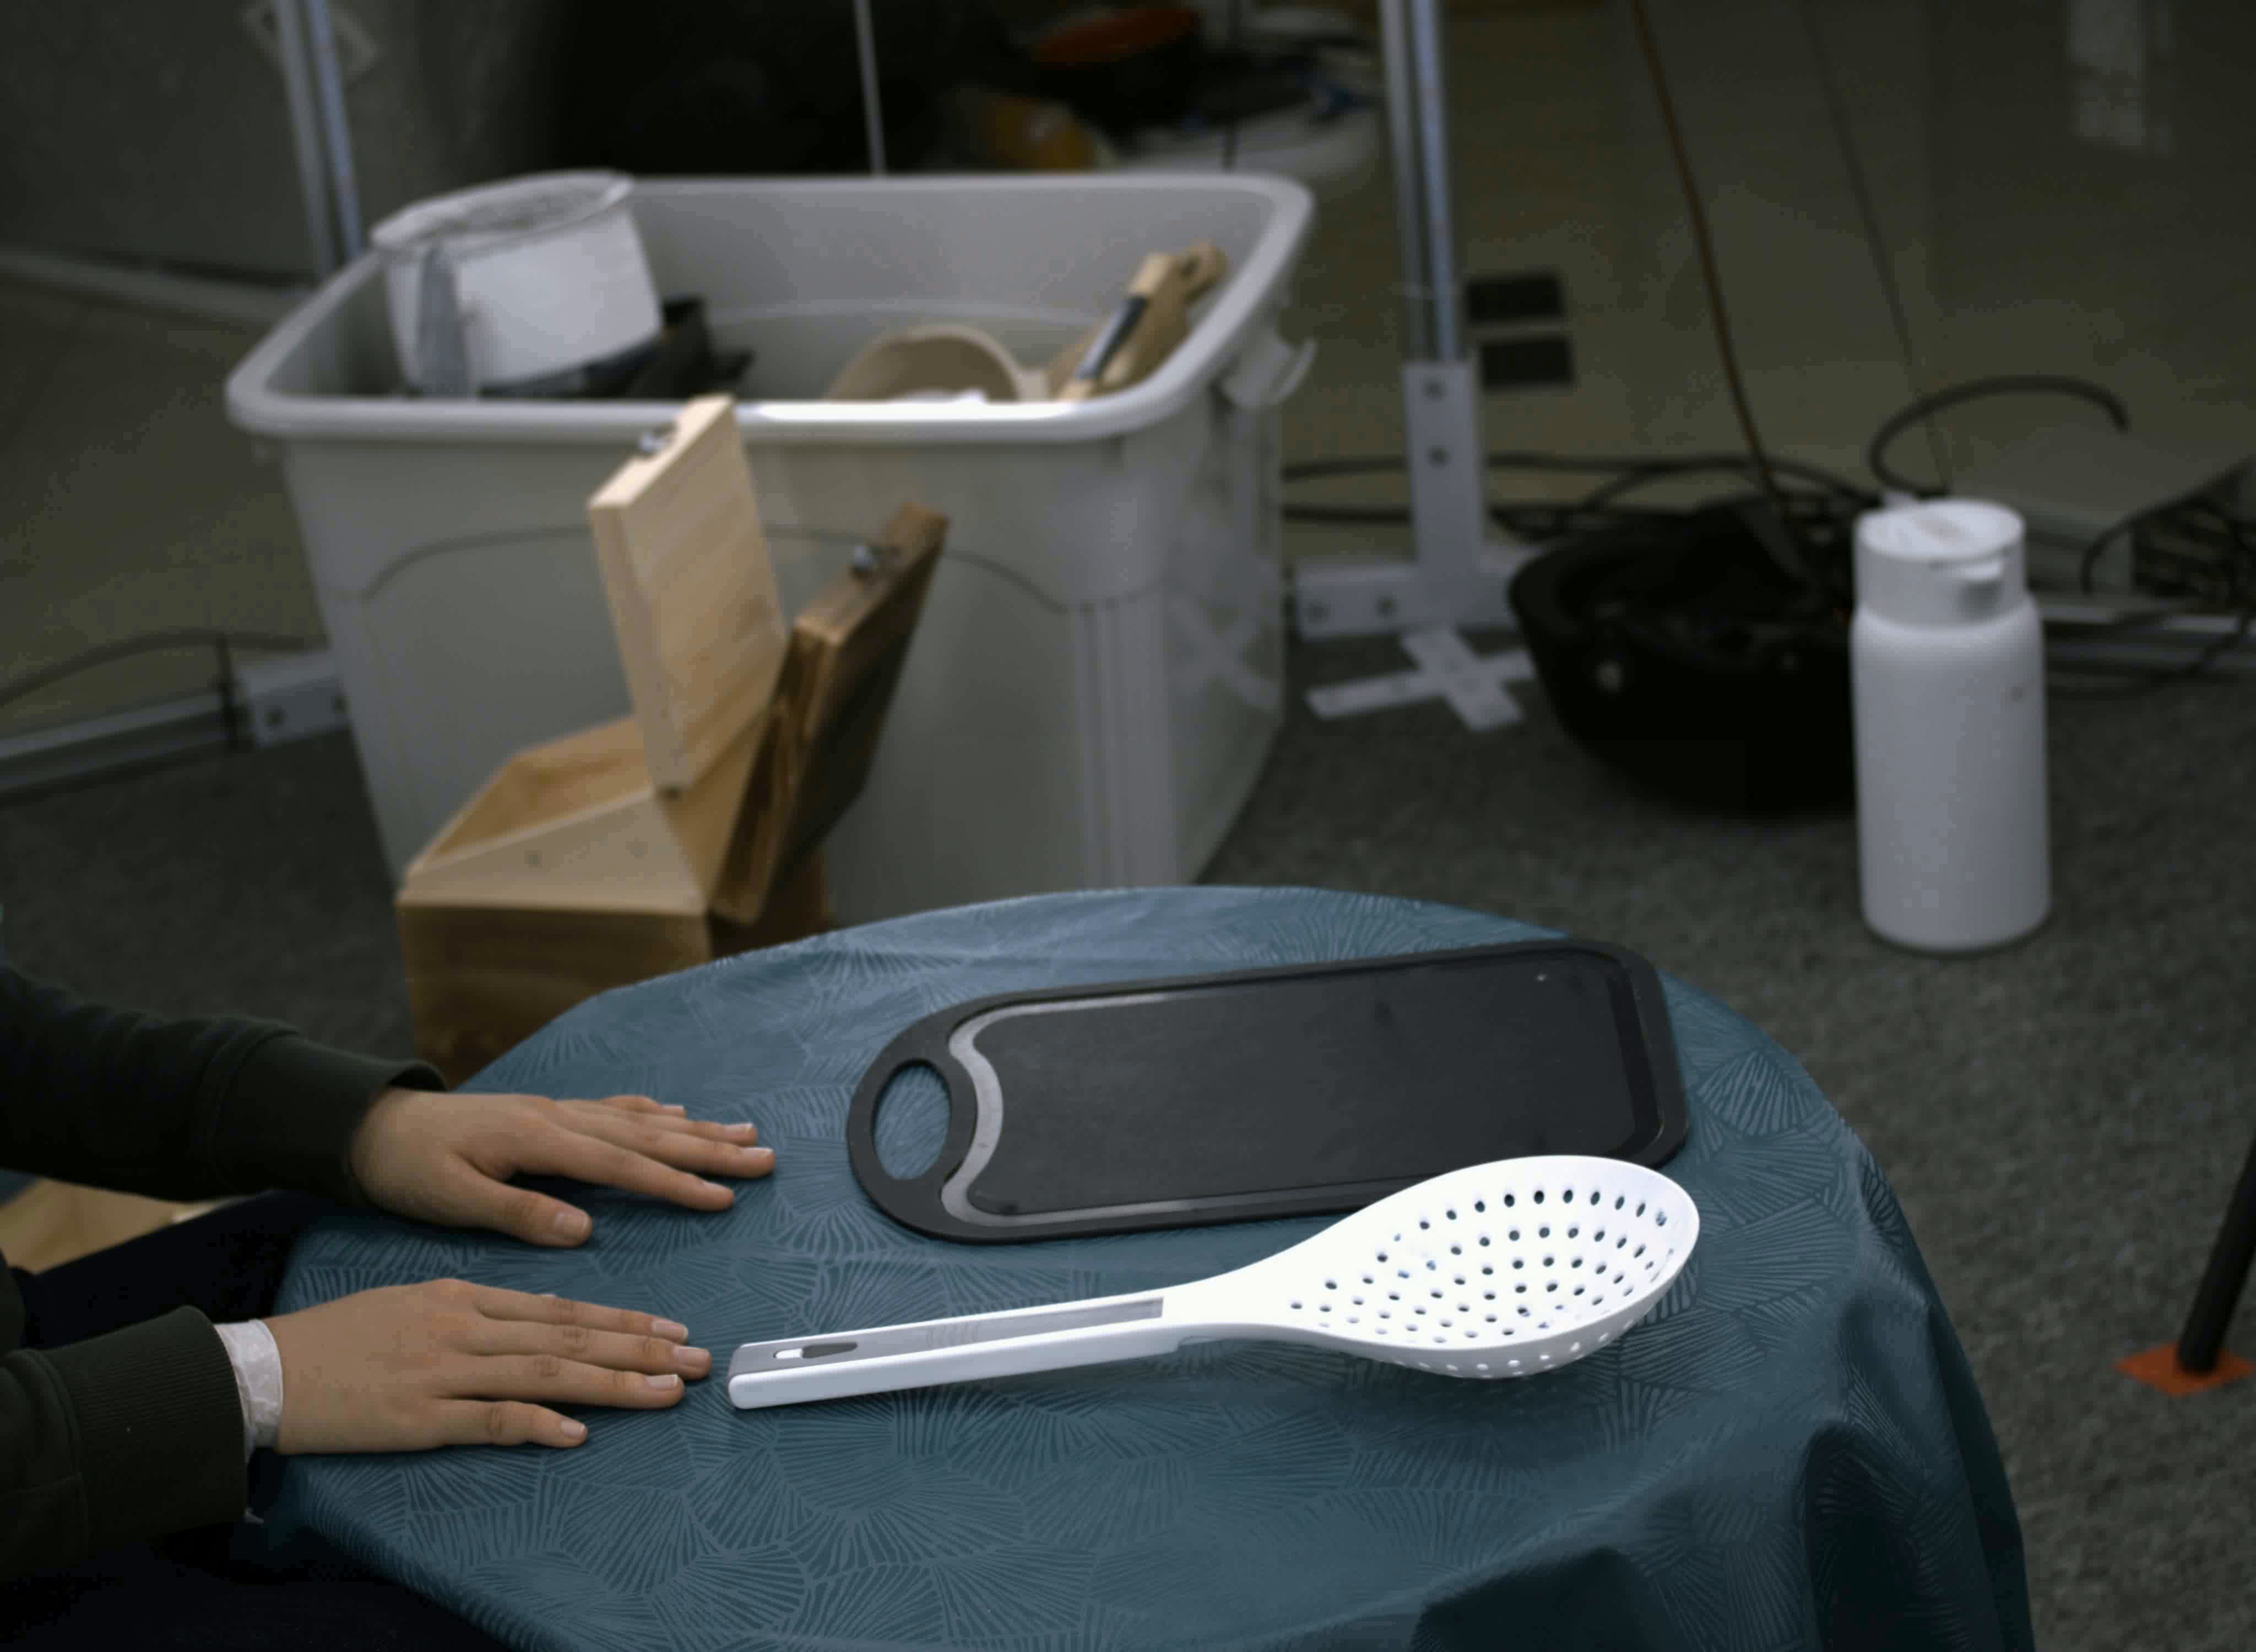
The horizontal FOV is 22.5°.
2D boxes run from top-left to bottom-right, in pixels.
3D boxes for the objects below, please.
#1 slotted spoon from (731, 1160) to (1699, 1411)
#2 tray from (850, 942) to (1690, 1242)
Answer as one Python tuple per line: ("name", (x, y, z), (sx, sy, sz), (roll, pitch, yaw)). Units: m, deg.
("slotted spoon", (0.029, 0.173, 2.018), (0.349, 0.046, 0.134), (-5, 23, 6))
("tray", (0.052, 0.102, 2.213), (0.325, 0.010, 0.208), (-6, 24, 3))
